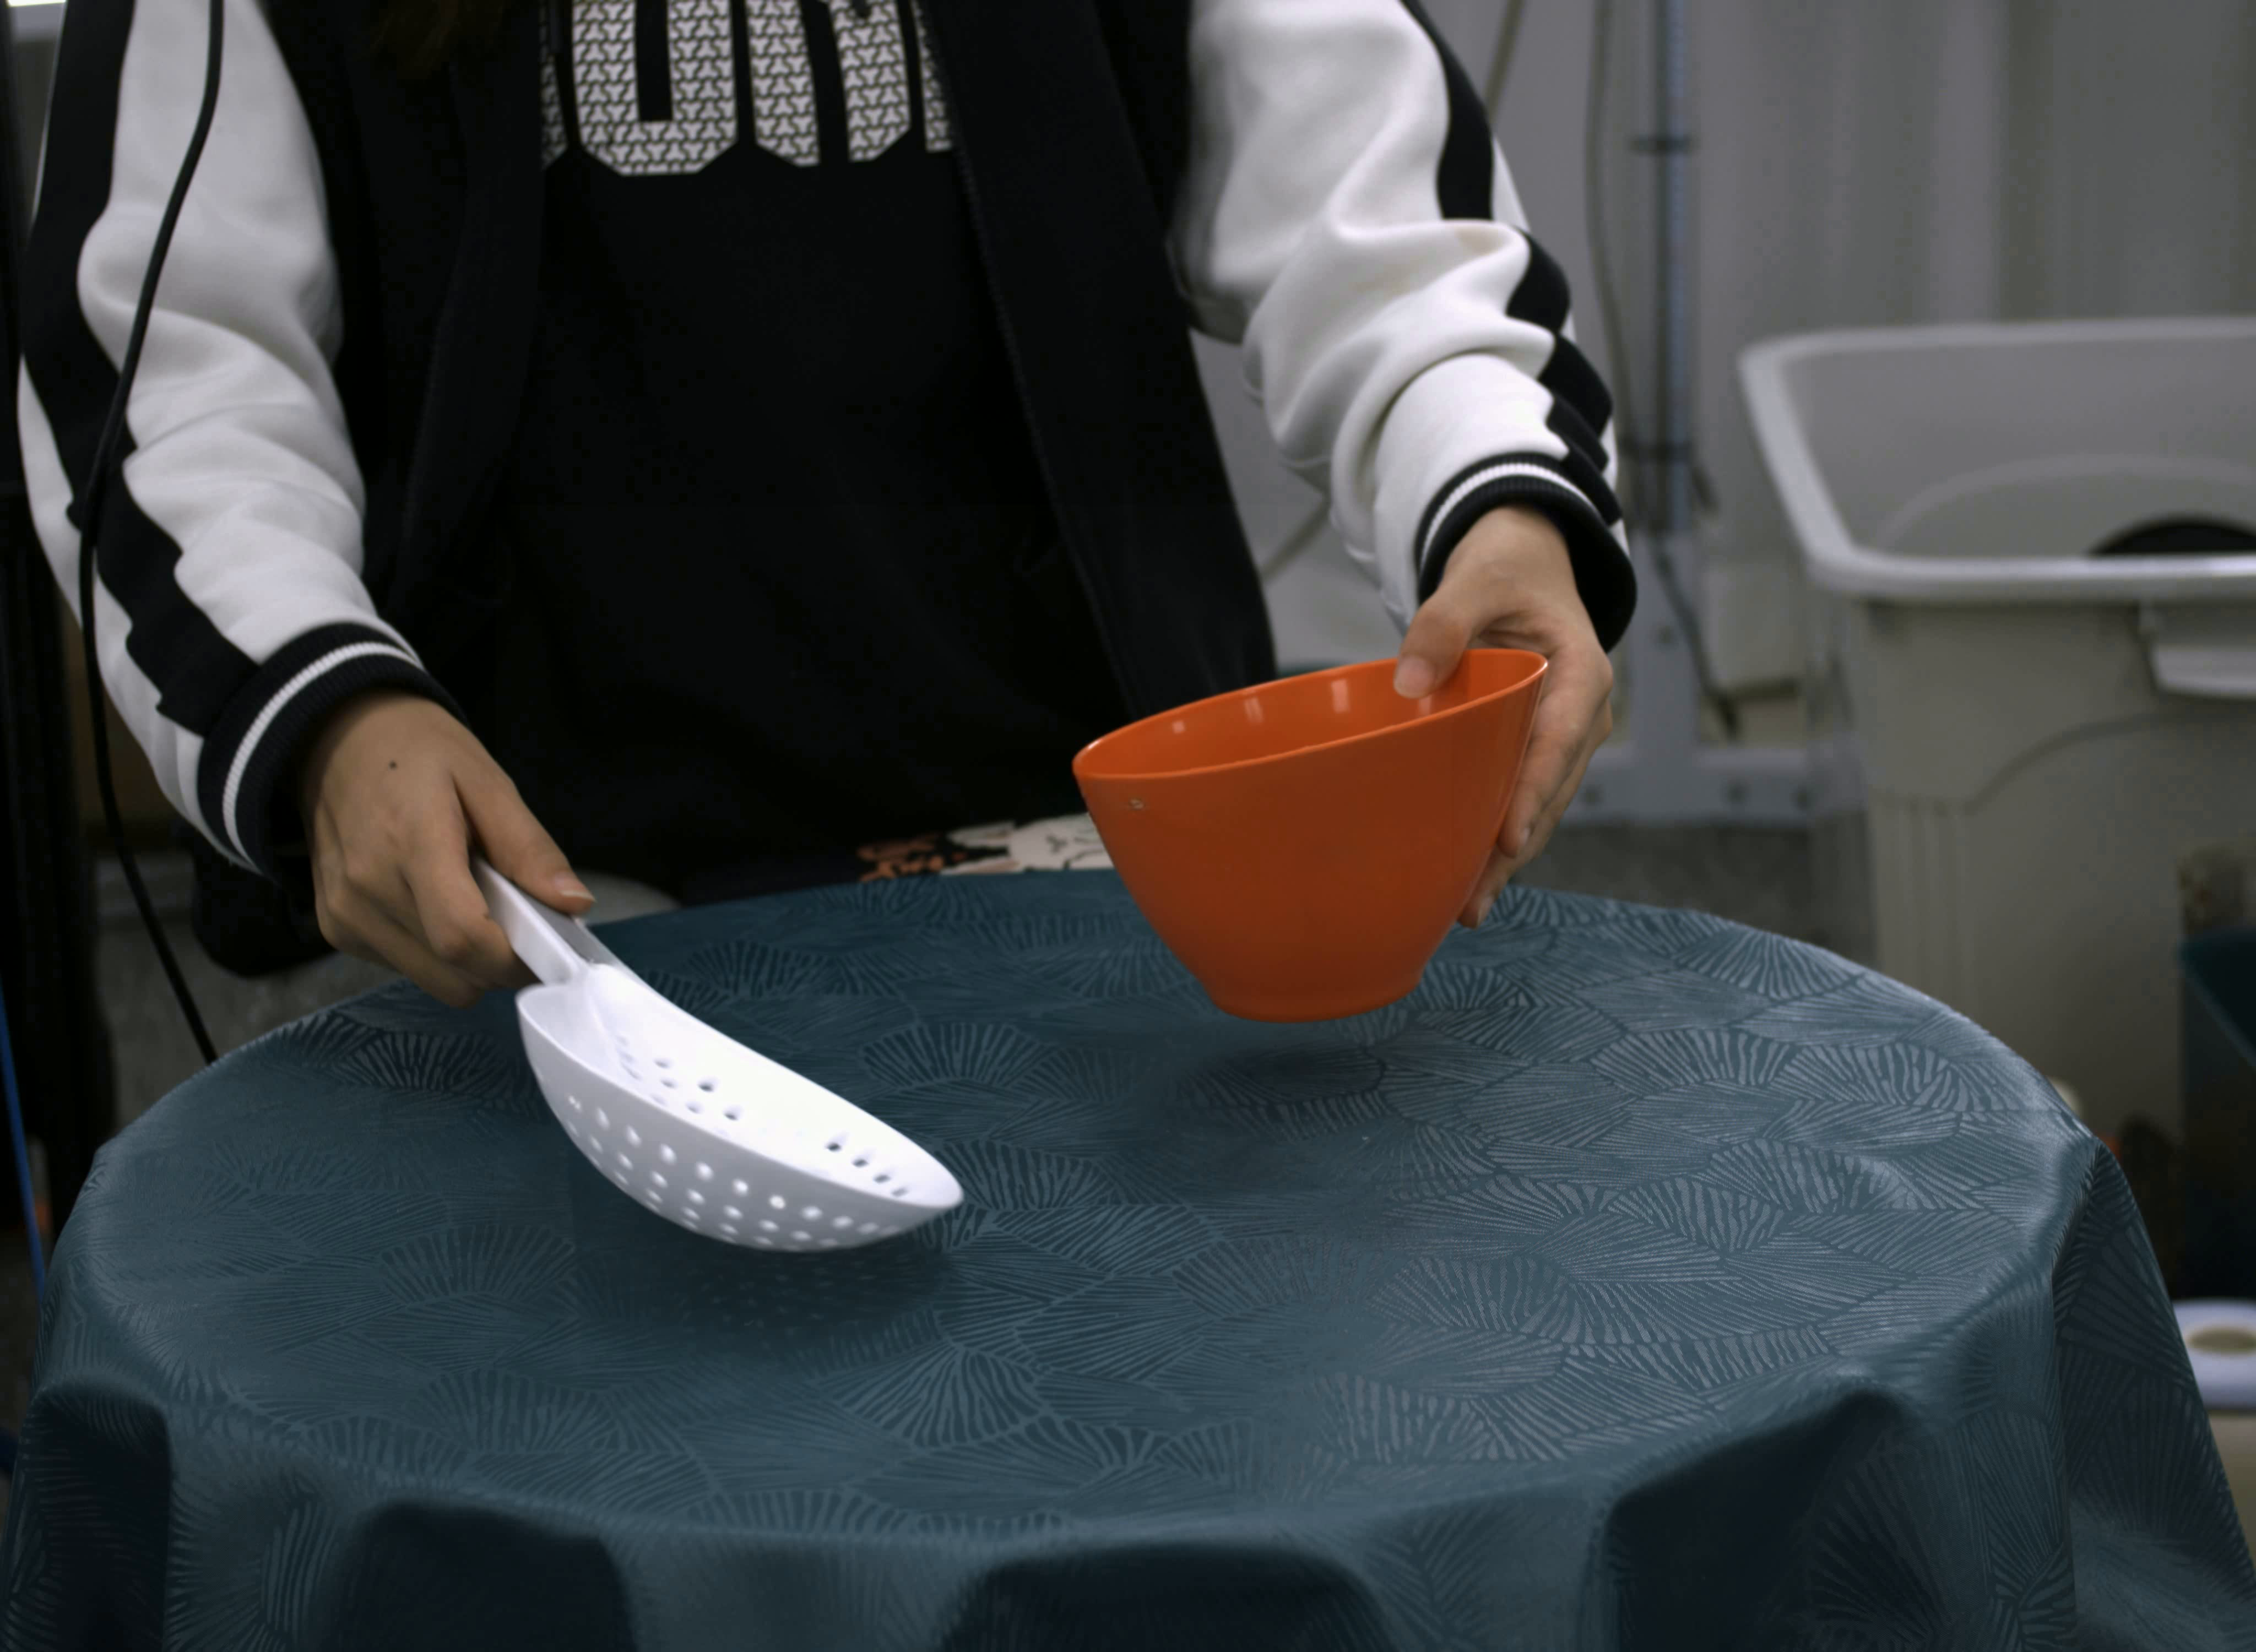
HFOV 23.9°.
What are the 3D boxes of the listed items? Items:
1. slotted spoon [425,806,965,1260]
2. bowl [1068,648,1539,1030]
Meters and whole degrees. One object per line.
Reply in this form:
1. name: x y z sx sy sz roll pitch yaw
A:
1. slotted spoon: -0.151 0.053 1.587 0.133 0.046 0.356 22 12 -28
2. bowl: 0.059 0.005 1.630 0.147 0.104 0.149 -9 17 1
